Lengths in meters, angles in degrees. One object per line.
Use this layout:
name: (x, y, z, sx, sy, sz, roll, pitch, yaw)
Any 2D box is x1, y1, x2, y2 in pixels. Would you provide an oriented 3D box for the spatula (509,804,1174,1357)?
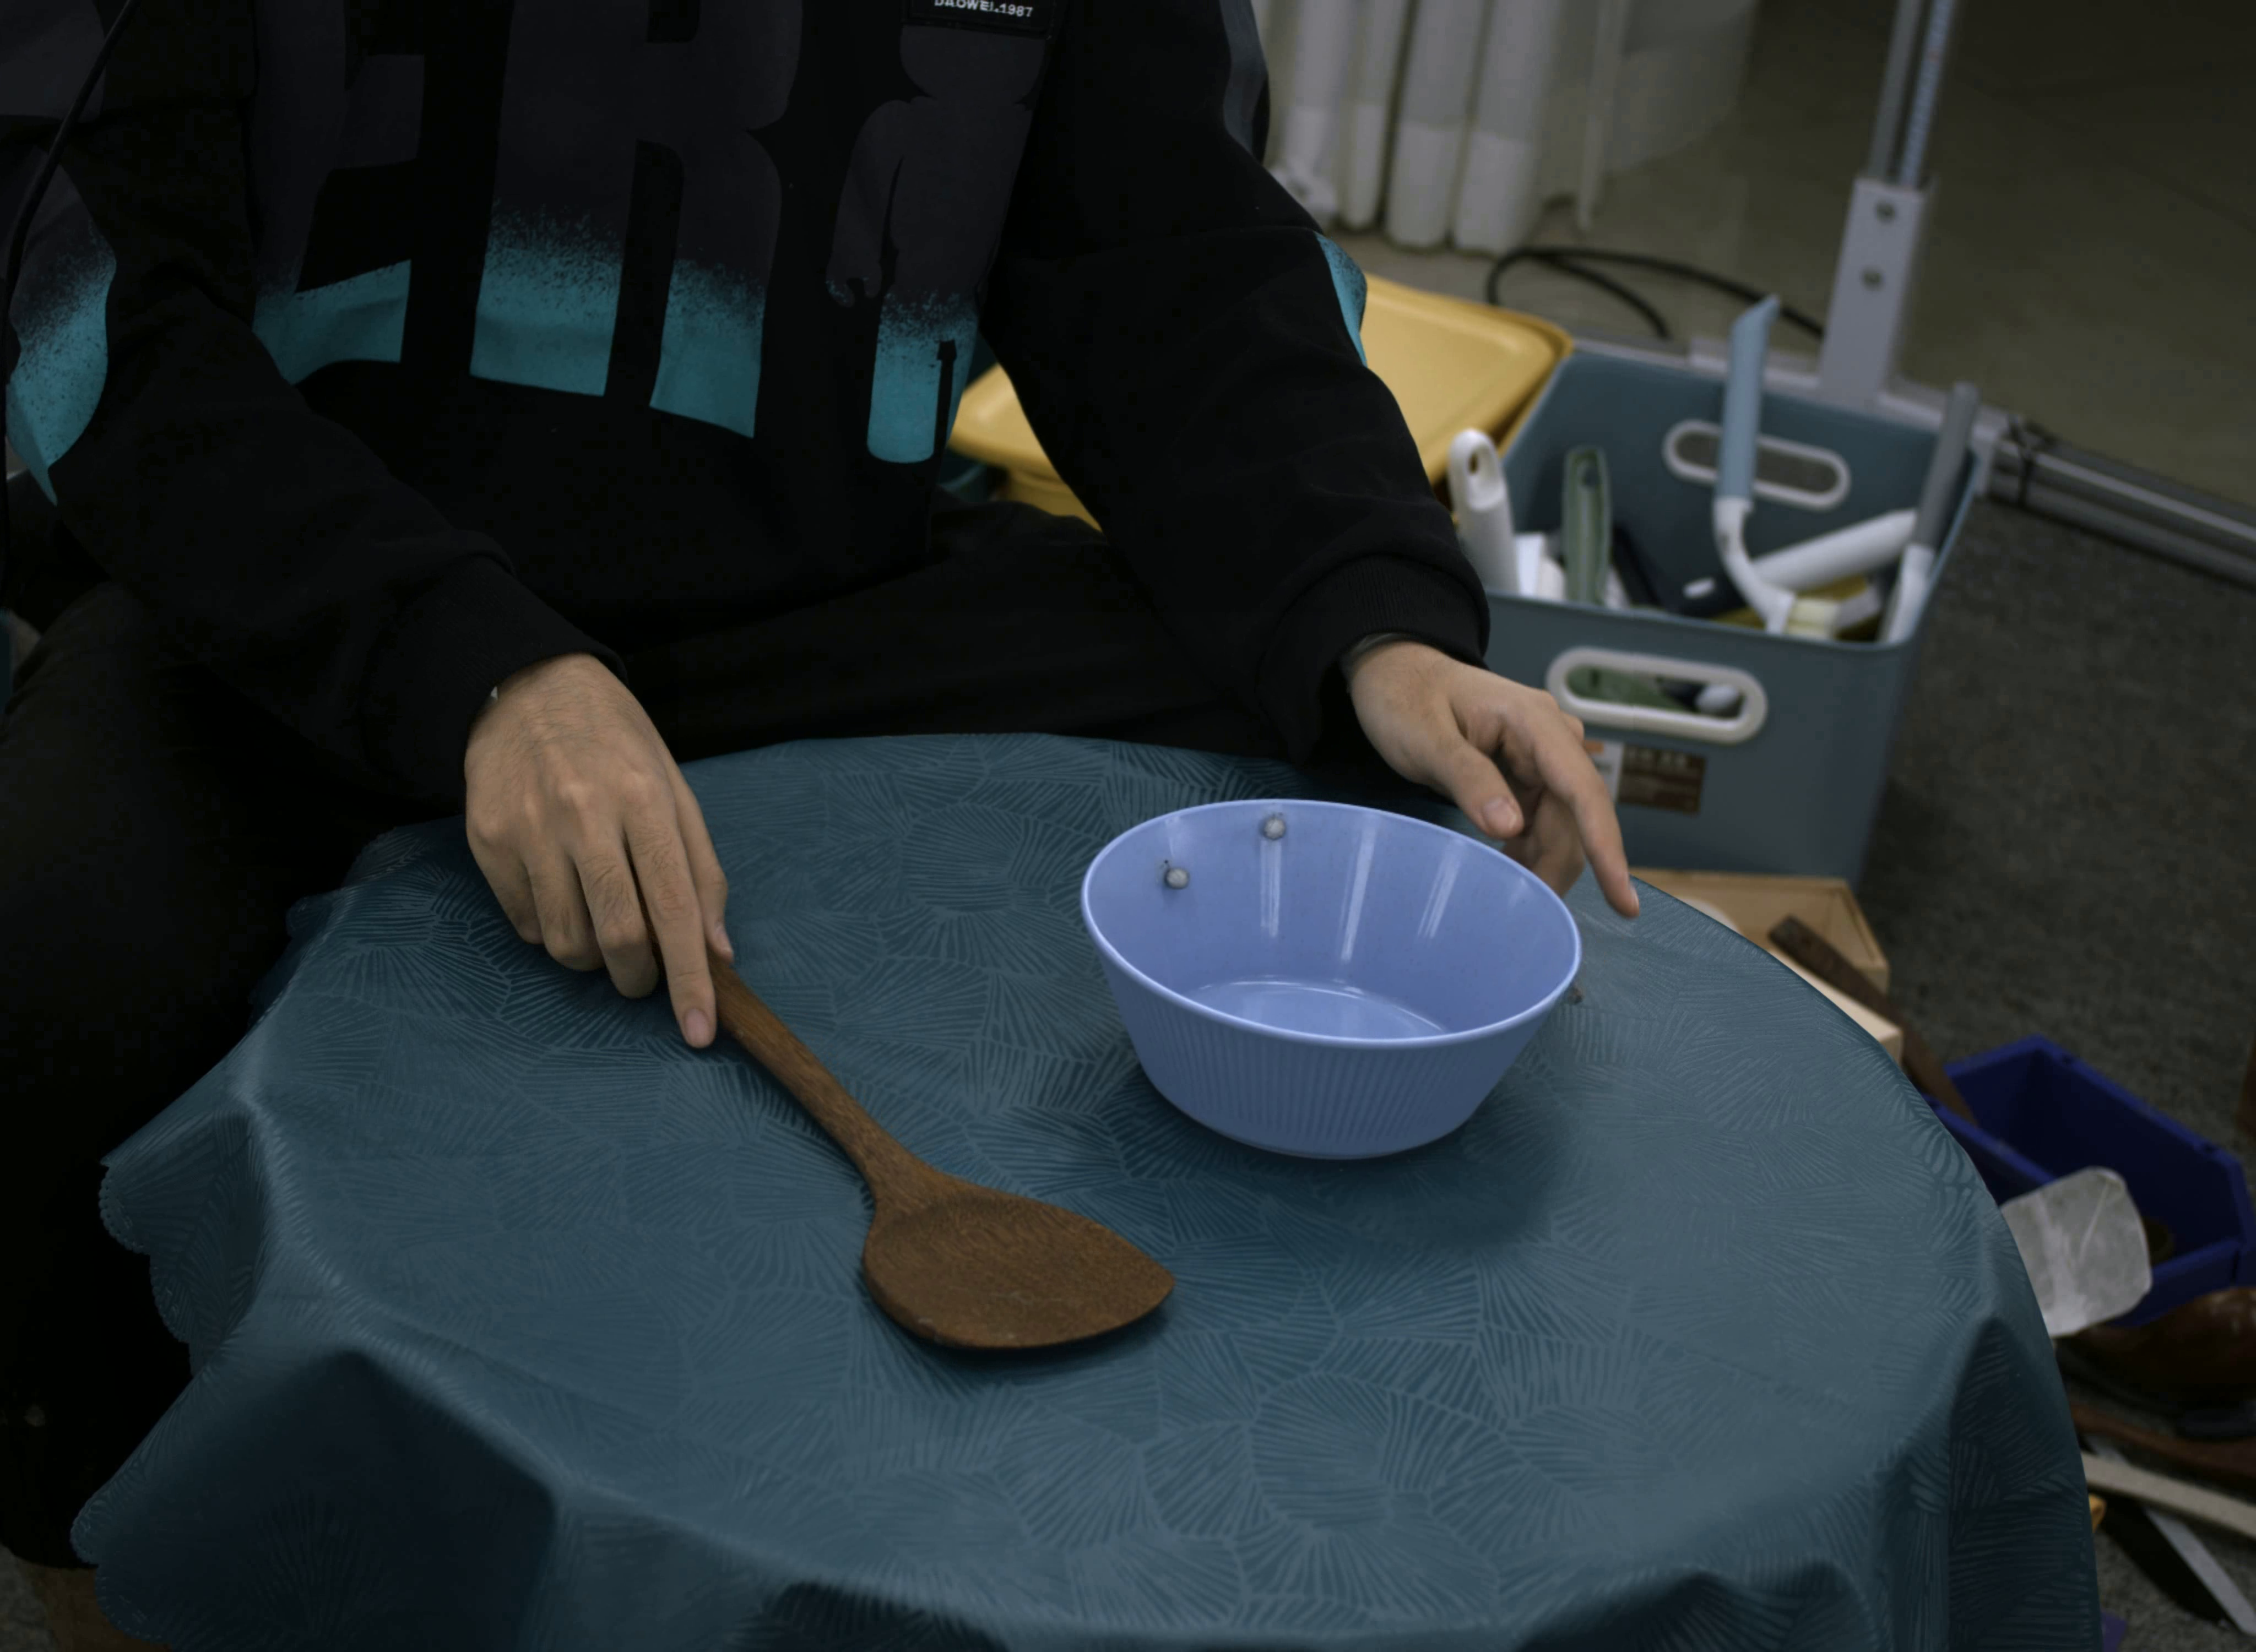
spatula: (-0.119, 0.079, 1.838, 0.095, 0.016, 0.389, -11, 33, -32)

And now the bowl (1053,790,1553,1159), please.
bowl: (0.057, 0.059, 1.862, 0.175, 0.070, 0.177, 6, 29, -3)
